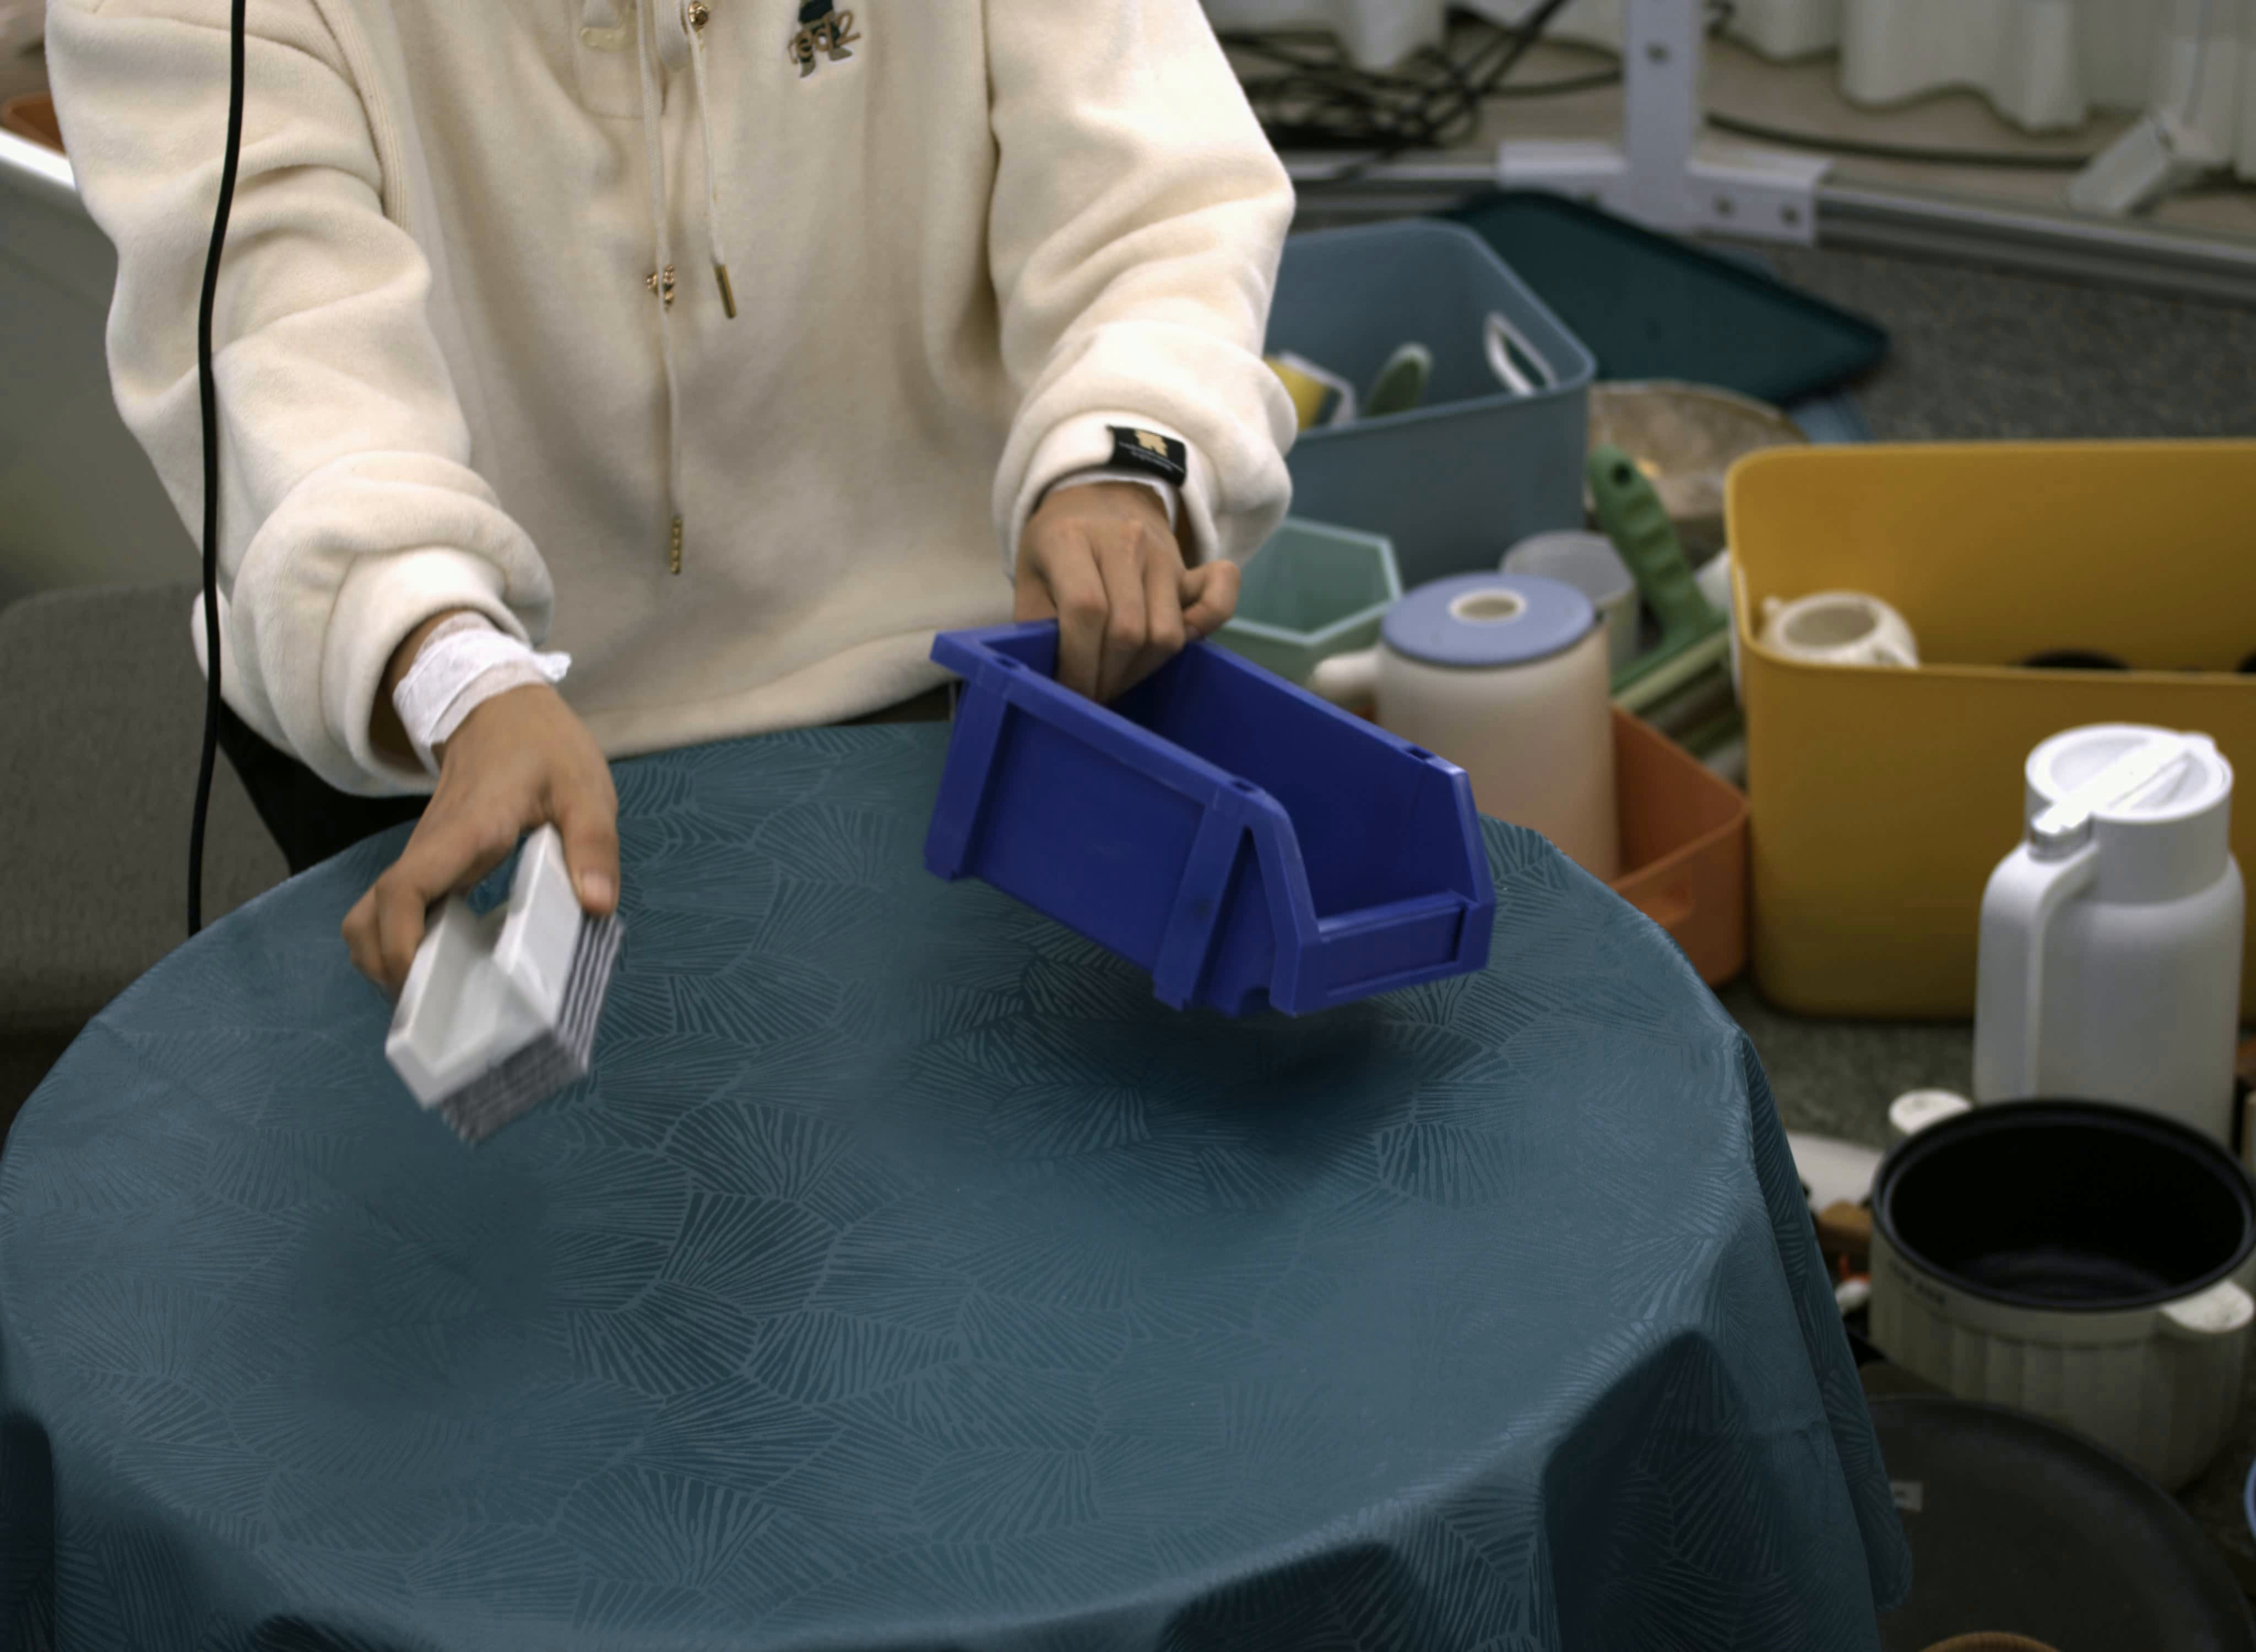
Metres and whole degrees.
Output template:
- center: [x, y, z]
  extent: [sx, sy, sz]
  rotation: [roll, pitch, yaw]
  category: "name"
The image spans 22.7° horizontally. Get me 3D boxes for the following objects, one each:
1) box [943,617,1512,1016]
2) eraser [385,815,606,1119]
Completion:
- center: [0.034, 0.000, 1.931]
  extent: [0.179, 0.081, 0.125]
  rotation: [26, 19, 32]
  category: "box"
- center: [-0.197, 0.044, 1.774]
  extent: [0.049, 0.046, 0.135]
  rotation: [-37, 15, 8]
  category: "eraser"
